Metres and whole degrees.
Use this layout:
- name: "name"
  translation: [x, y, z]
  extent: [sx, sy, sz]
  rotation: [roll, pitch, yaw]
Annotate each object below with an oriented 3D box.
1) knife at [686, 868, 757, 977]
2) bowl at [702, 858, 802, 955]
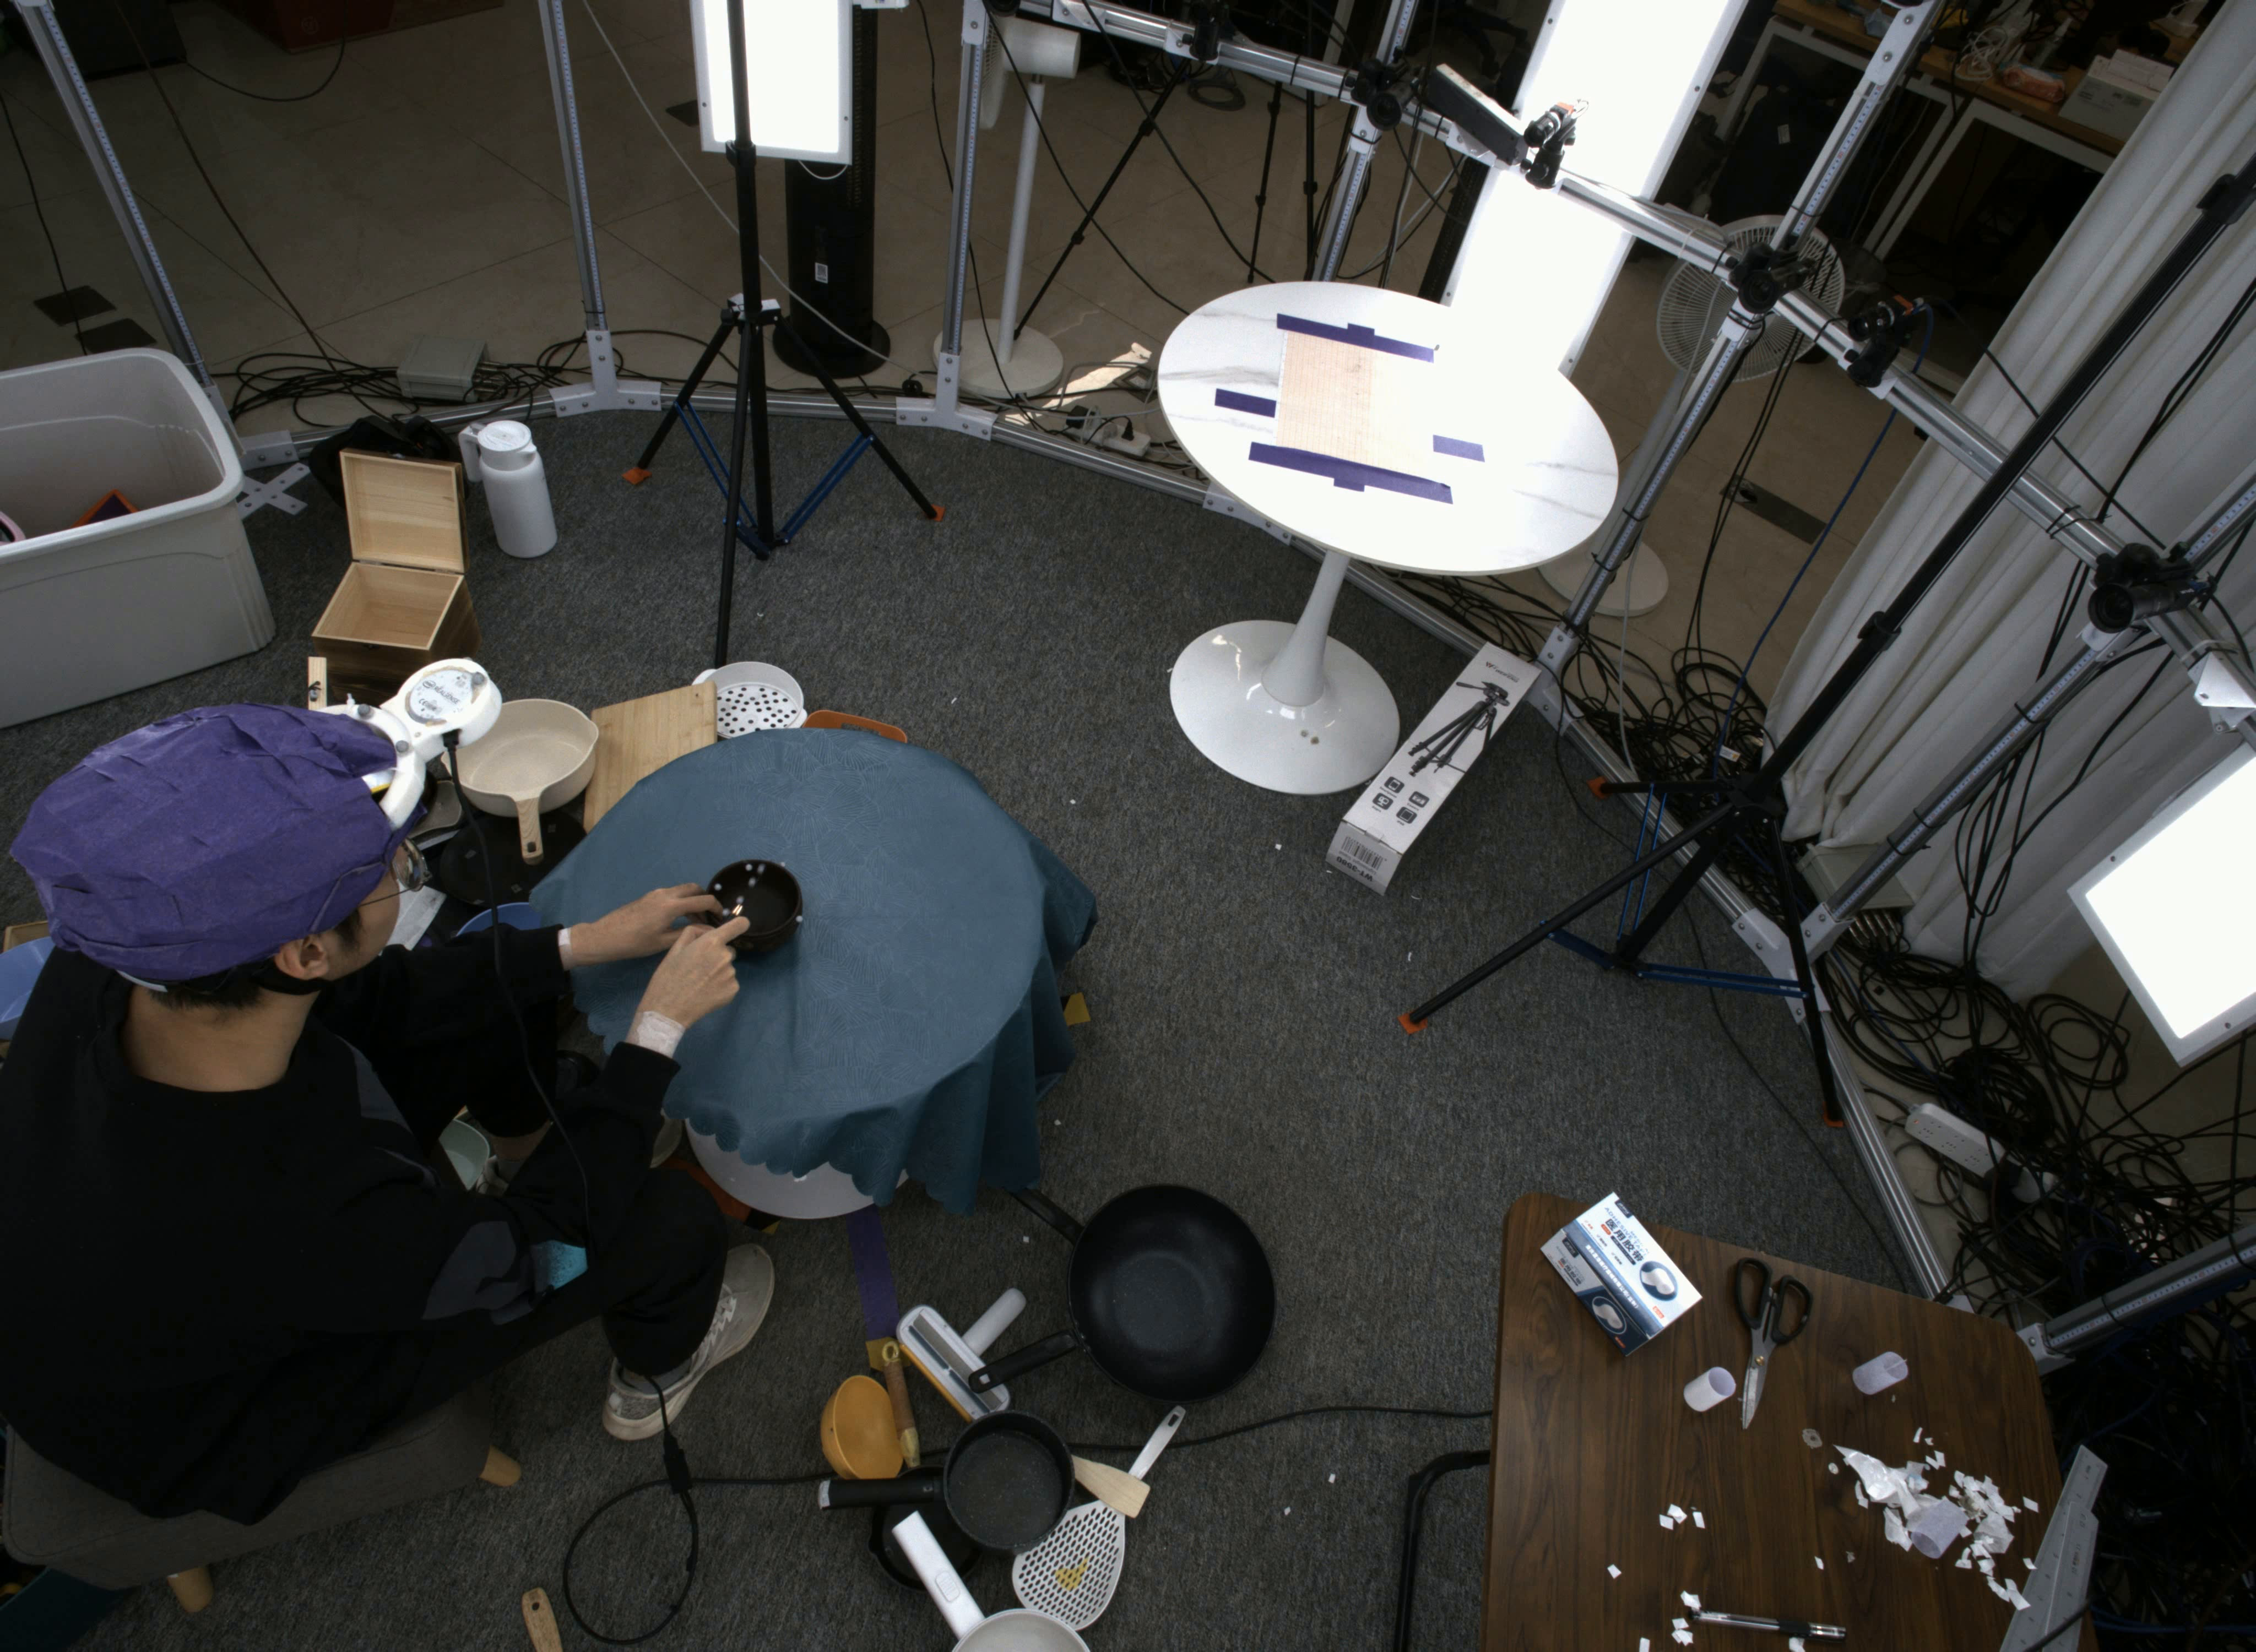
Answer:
- name: "knife"
  translation: [-0.460, 0.102, 1.483]
  extent: [0.026, 0.018, 0.221]
  rotation: [-6, 28, 9]
- name: "bowl"
  translation: [-0.456, 0.104, 1.578]
  extent: [0.117, 0.071, 0.116]
  rotation: [6, 52, -7]
